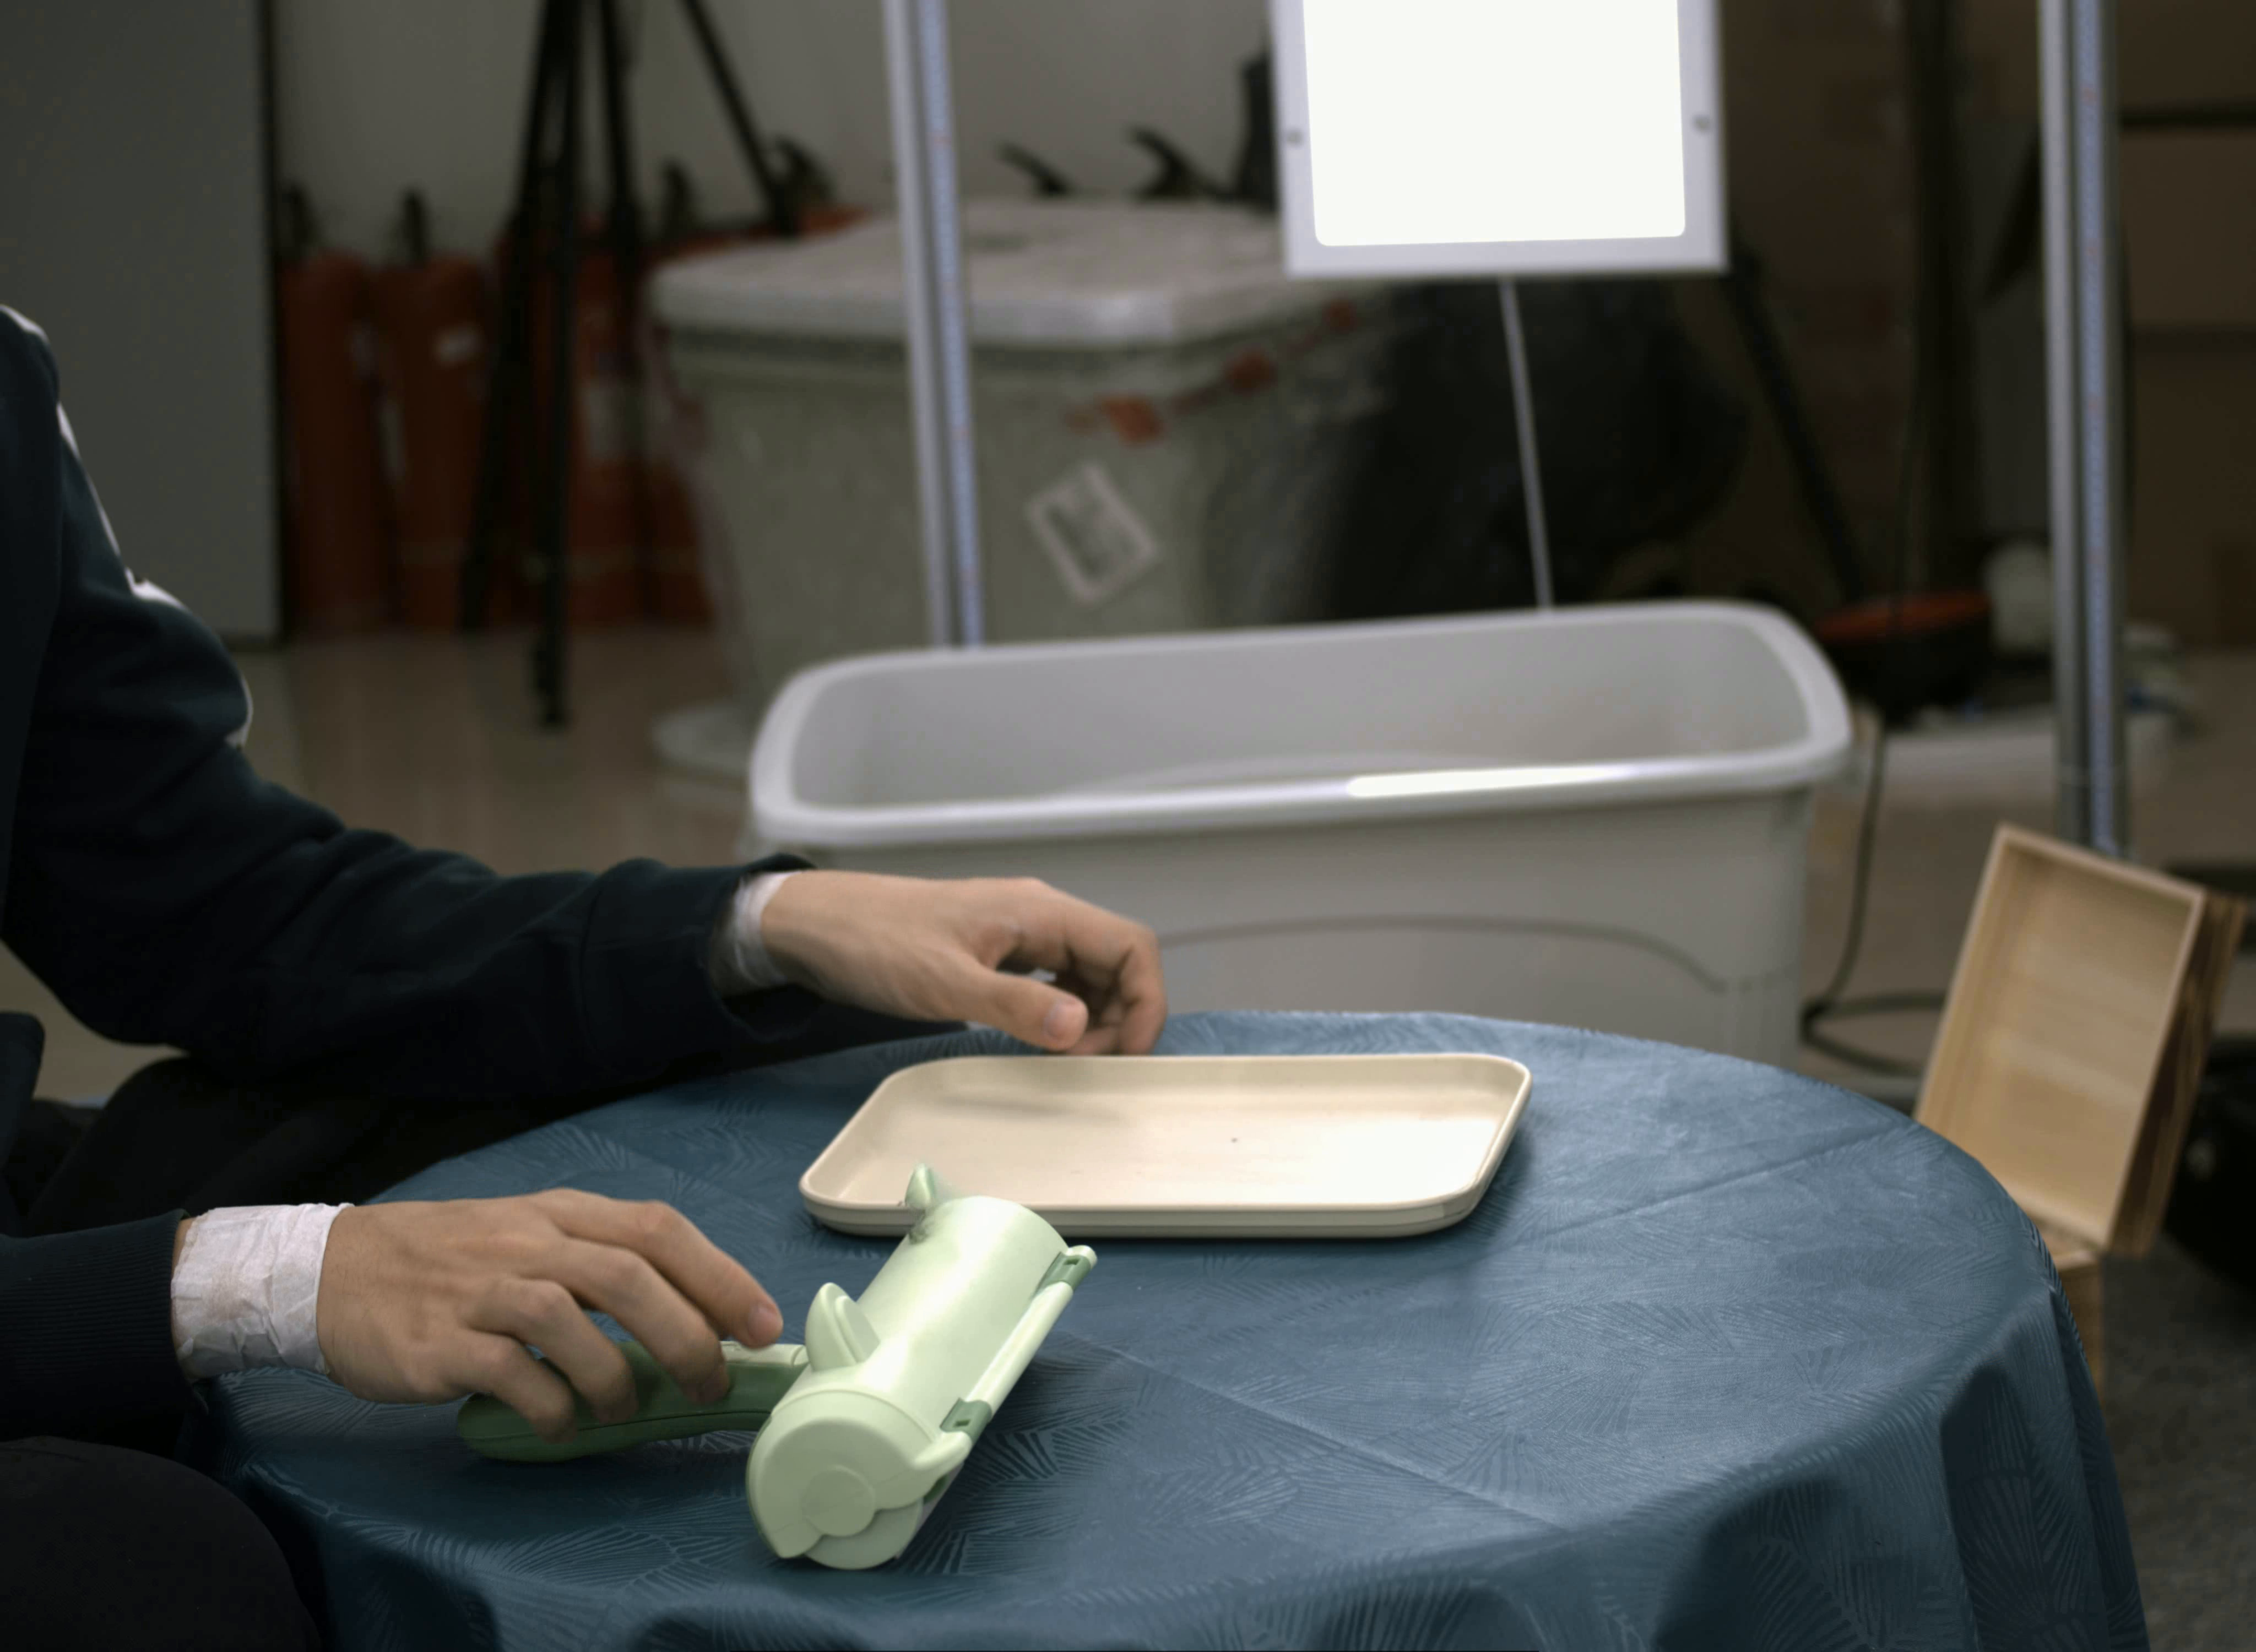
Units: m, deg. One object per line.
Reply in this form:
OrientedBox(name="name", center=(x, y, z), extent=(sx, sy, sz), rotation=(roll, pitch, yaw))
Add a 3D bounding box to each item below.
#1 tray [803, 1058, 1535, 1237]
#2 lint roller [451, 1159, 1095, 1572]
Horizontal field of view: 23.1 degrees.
OrientedBox(name="tray", center=(0.017, 0.112, 1.910), extent=(0.242, 0.017, 0.169), rotation=(-1, 13, 15))
OrientedBox(name="lint roller", center=(-0.117, 0.155, 1.662), extent=(0.185, 0.082, 0.196), rotation=(3, 15, 13))
